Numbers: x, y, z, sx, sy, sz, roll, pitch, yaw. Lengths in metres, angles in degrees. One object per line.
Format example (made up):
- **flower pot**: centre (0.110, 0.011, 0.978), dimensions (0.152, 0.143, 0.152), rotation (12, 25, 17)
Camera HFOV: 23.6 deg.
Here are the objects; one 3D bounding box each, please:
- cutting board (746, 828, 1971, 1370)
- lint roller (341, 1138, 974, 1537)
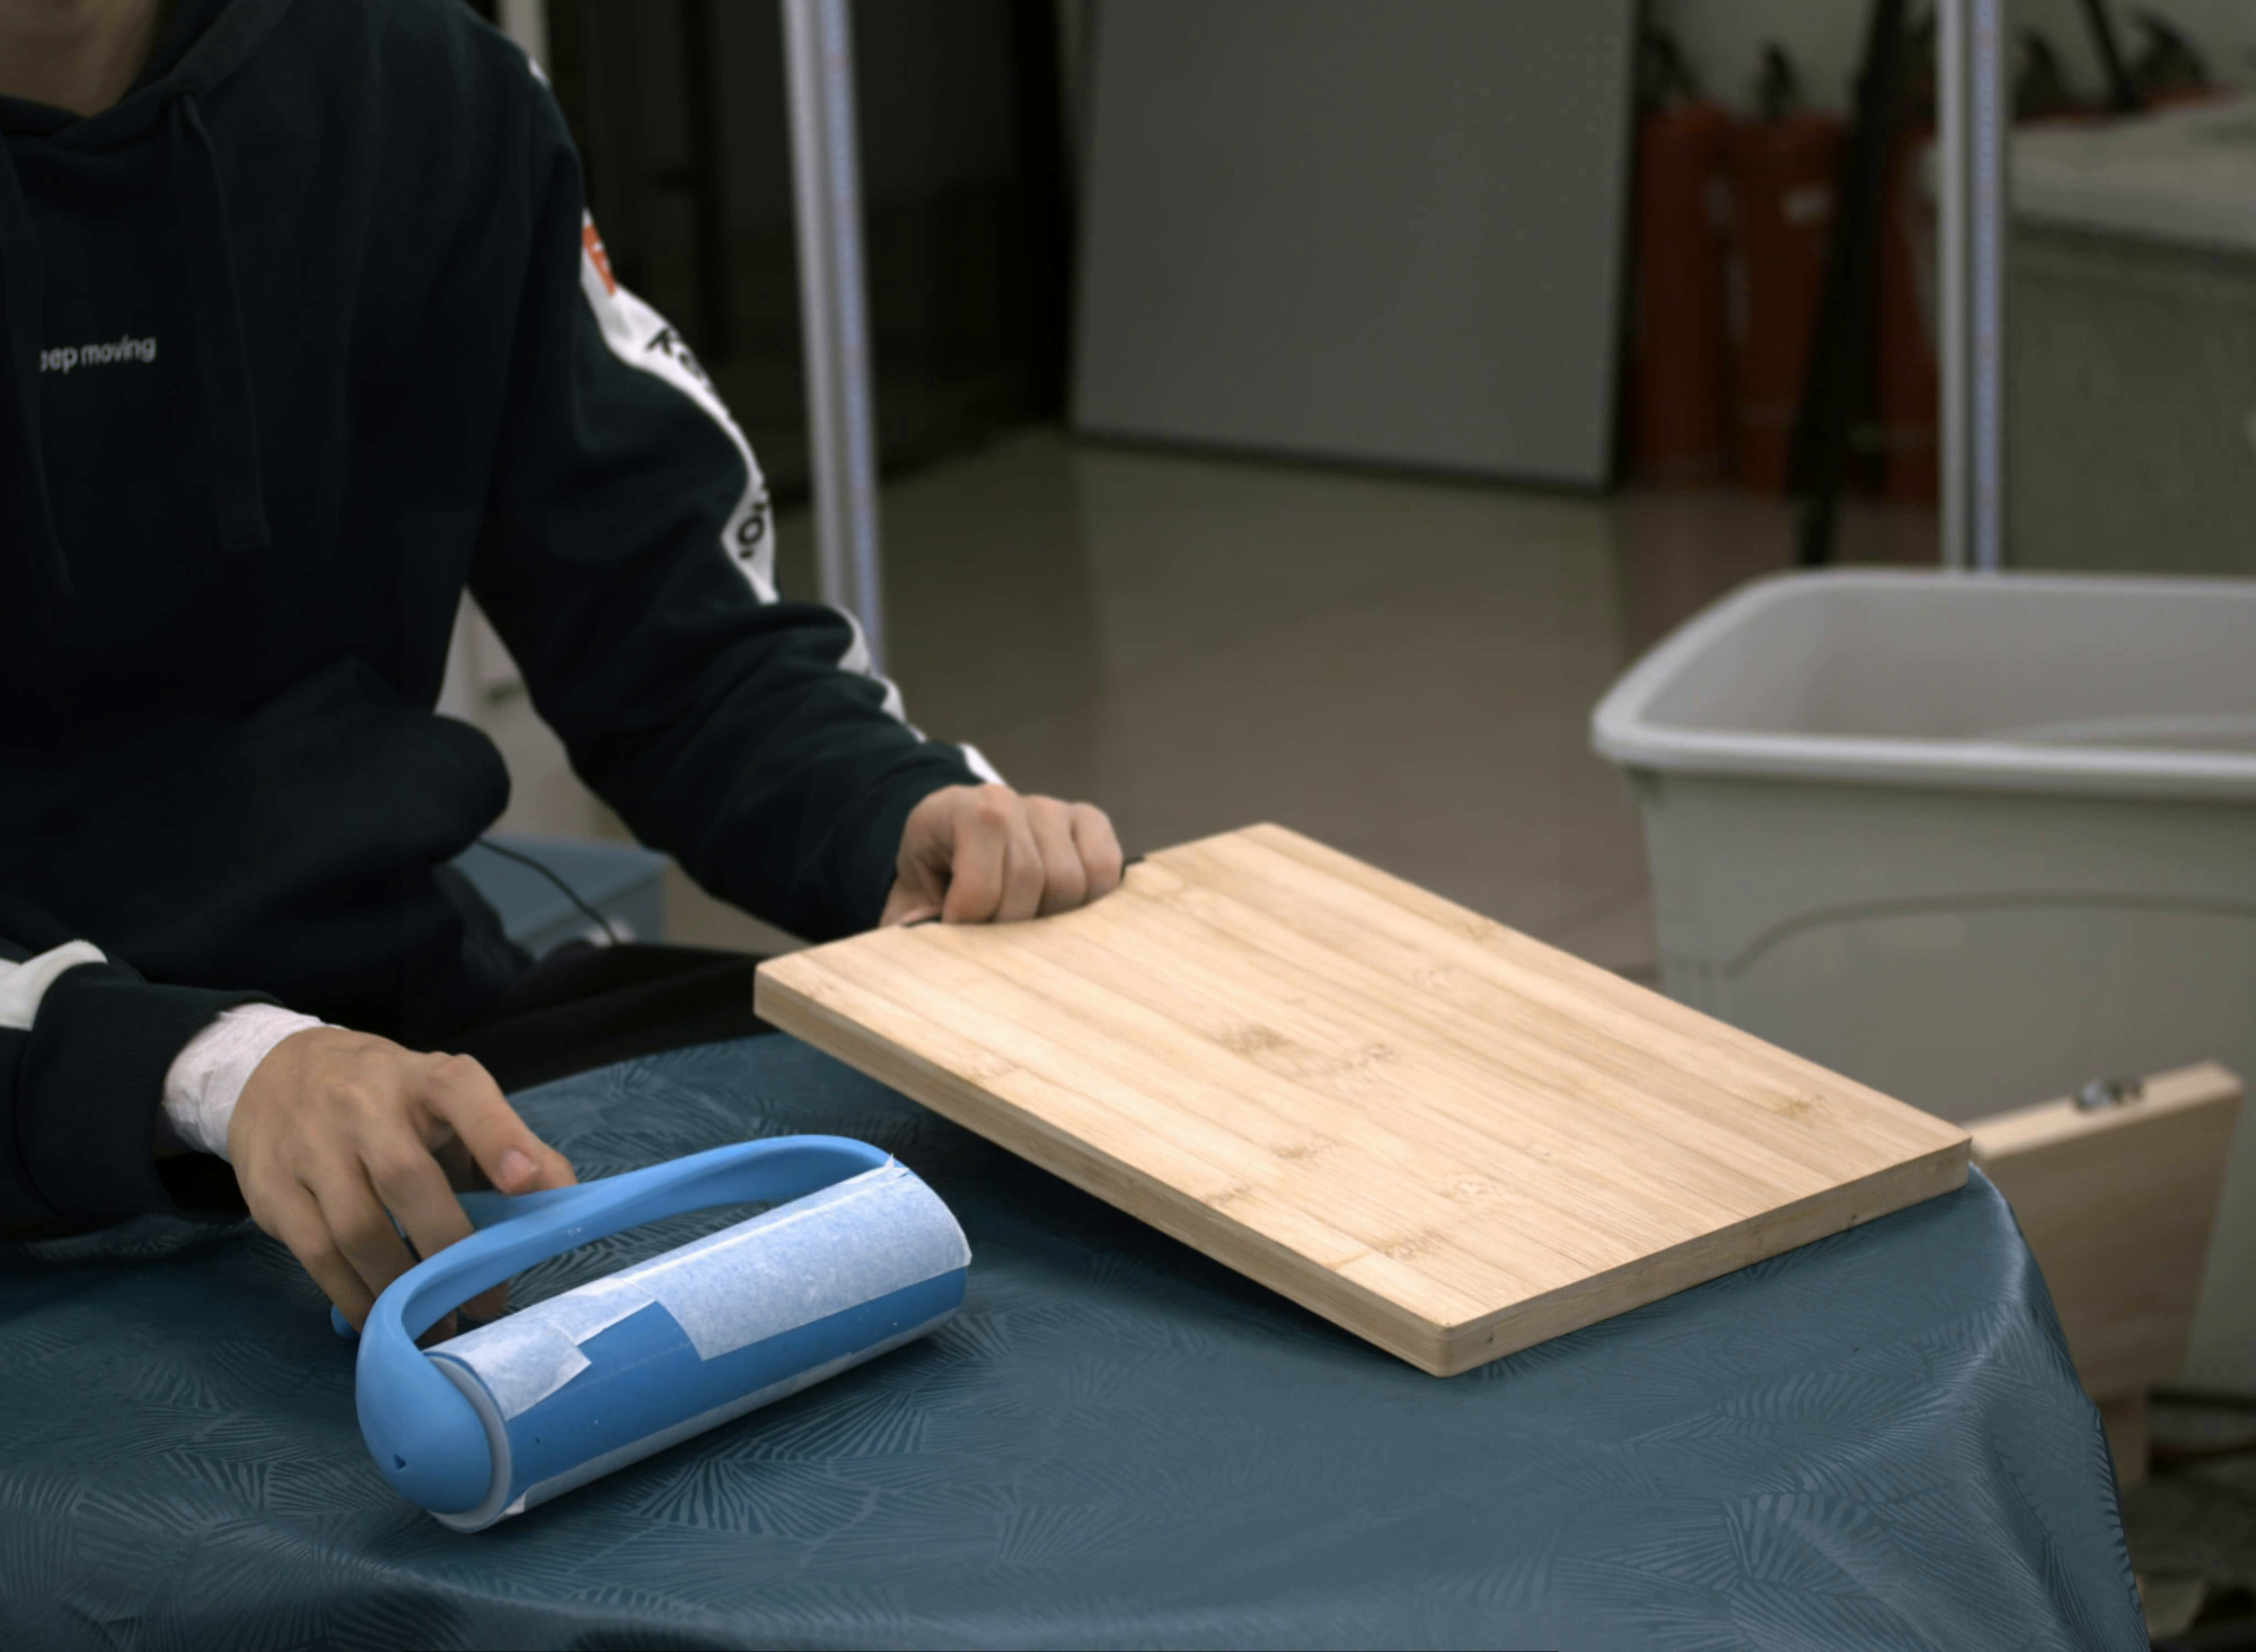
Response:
- **cutting board**: centre (0.070, 0.082, 1.772), dimensions (0.245, 0.024, 0.352), rotation (-15, 26, -38)
- **lint roller**: centre (-0.173, 0.144, 1.612), dimensions (0.181, 0.068, 0.225), rotation (8, 19, 38)
